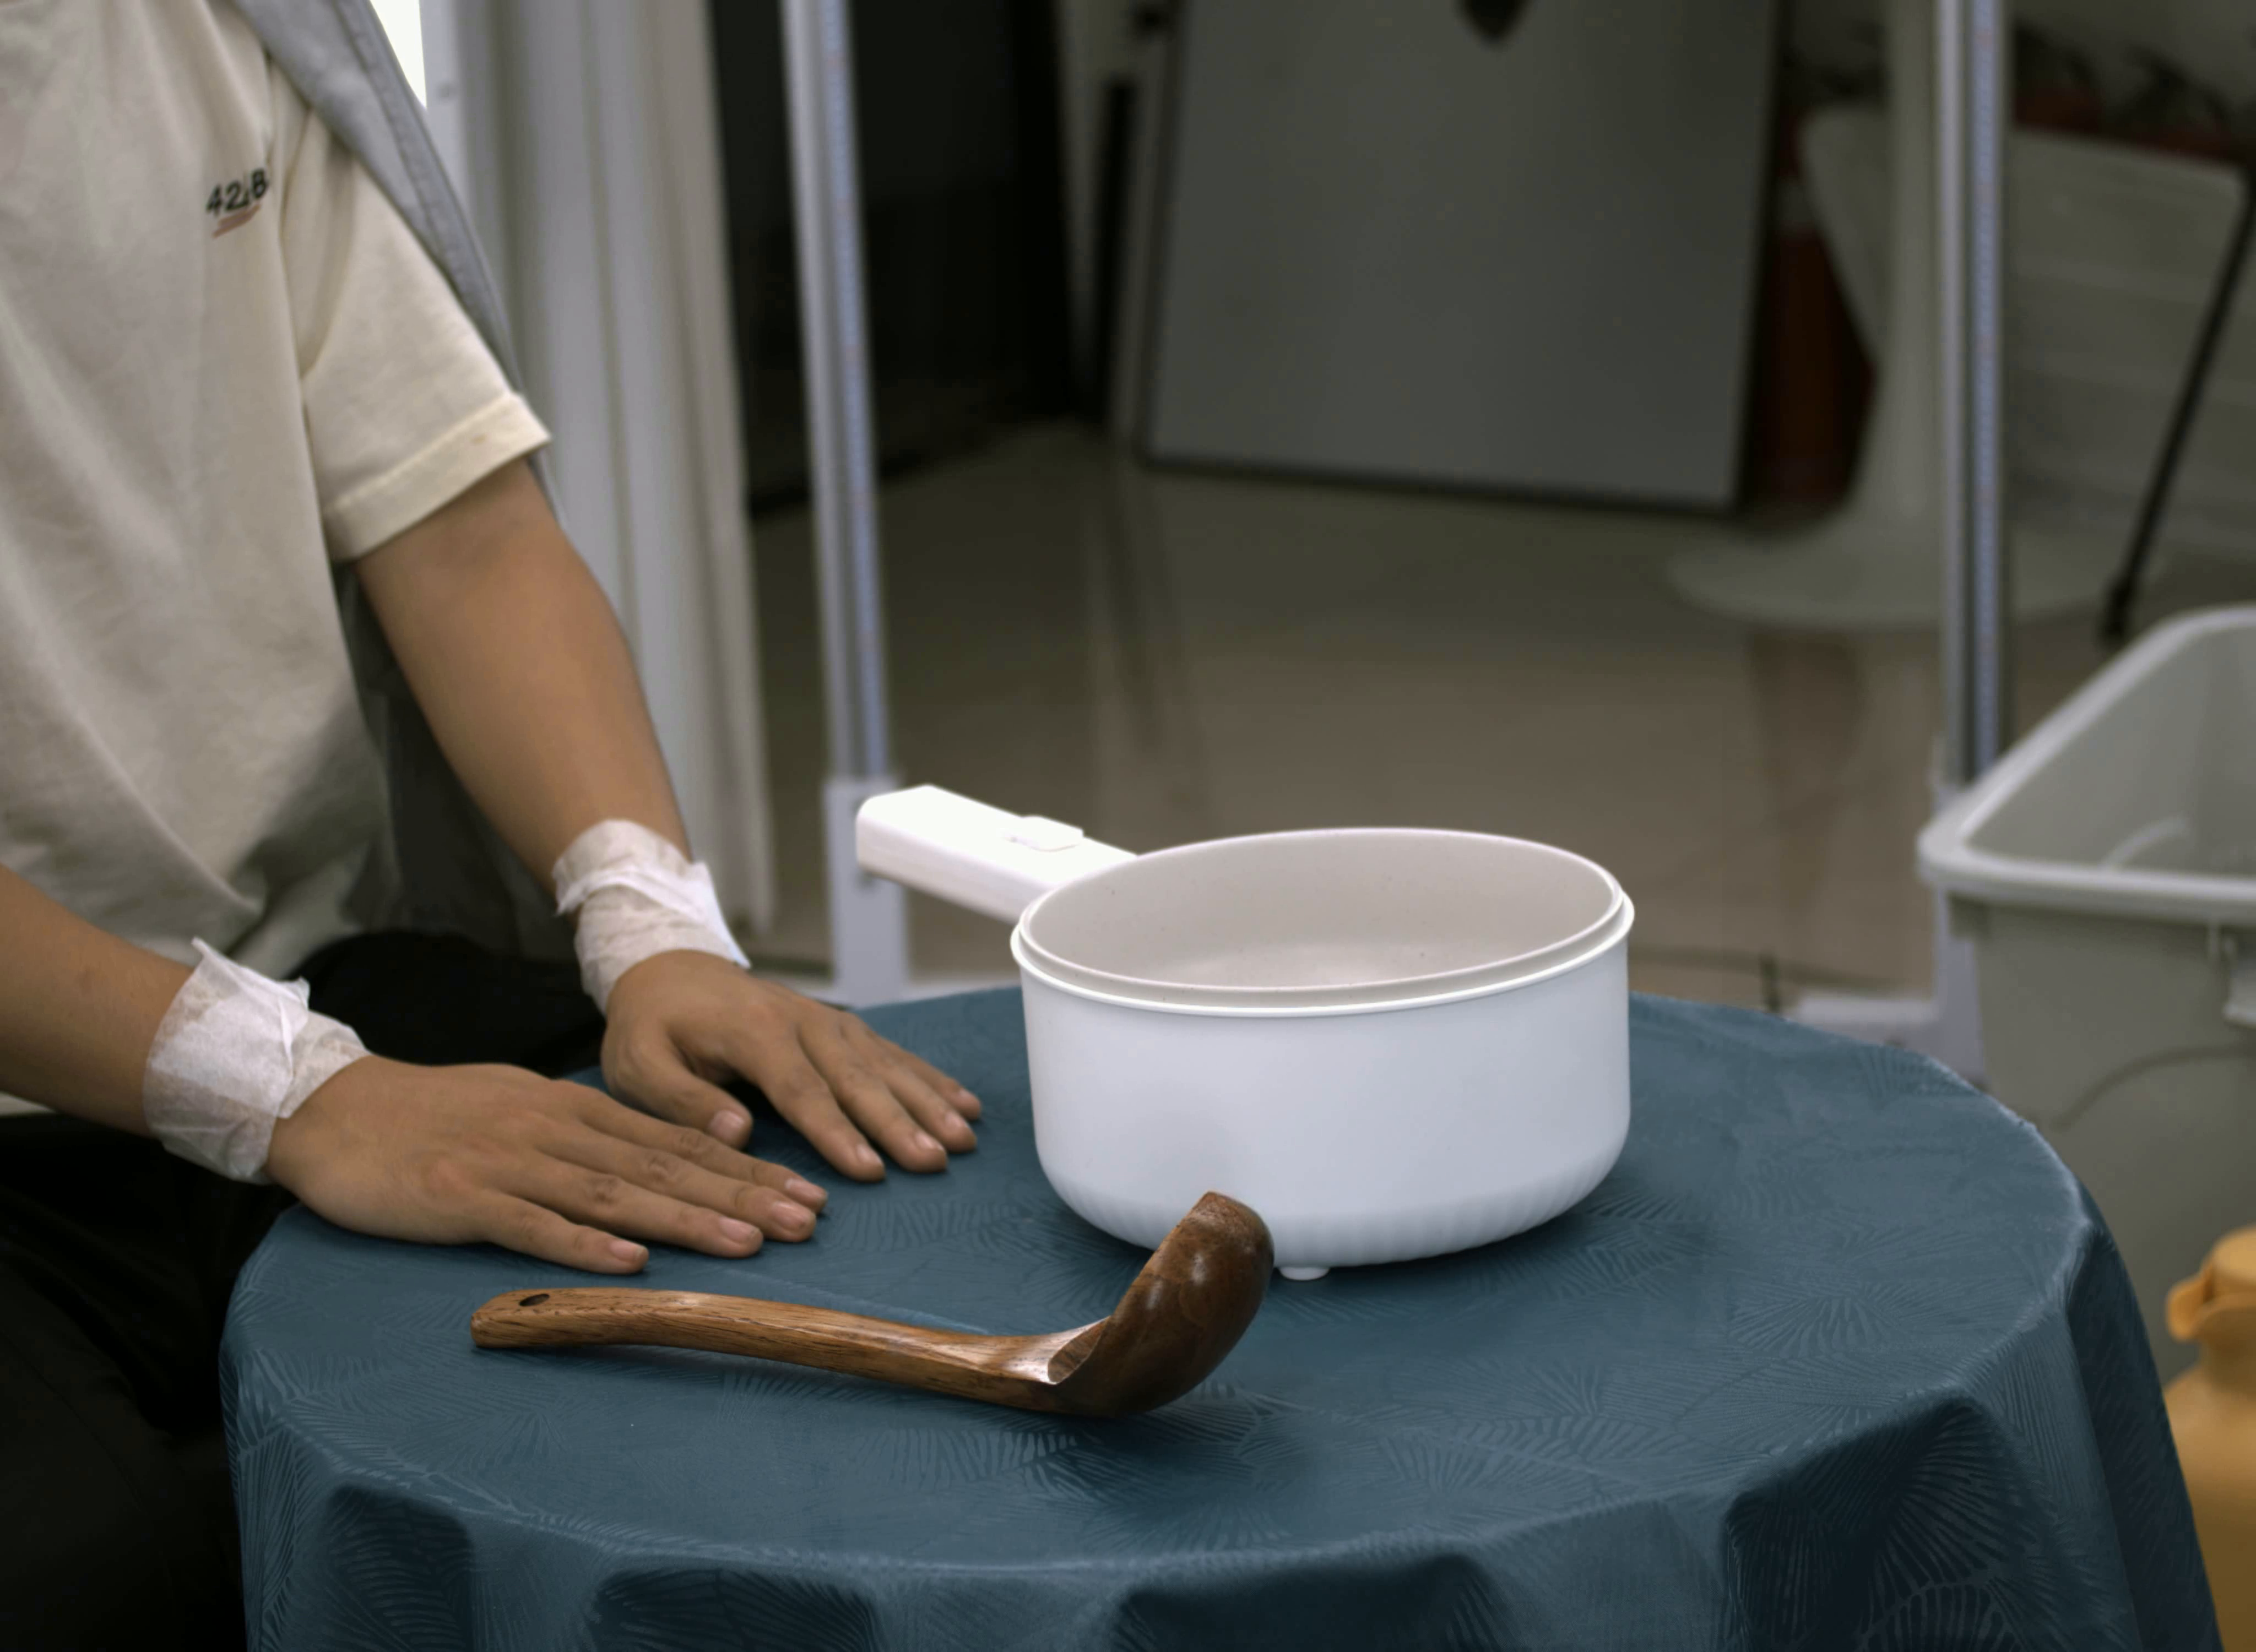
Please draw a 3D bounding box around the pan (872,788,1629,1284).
[{"bbox_3d":[0.022,0.062,1.801,0.197,0.103,0.358,-13,16,-31],"label":"pan"}]

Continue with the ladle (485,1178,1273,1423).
[{"bbox_3d":[-0.082,0.130,1.598,0.275,0.077,0.081,5,18,30],"label":"ladle"}]
